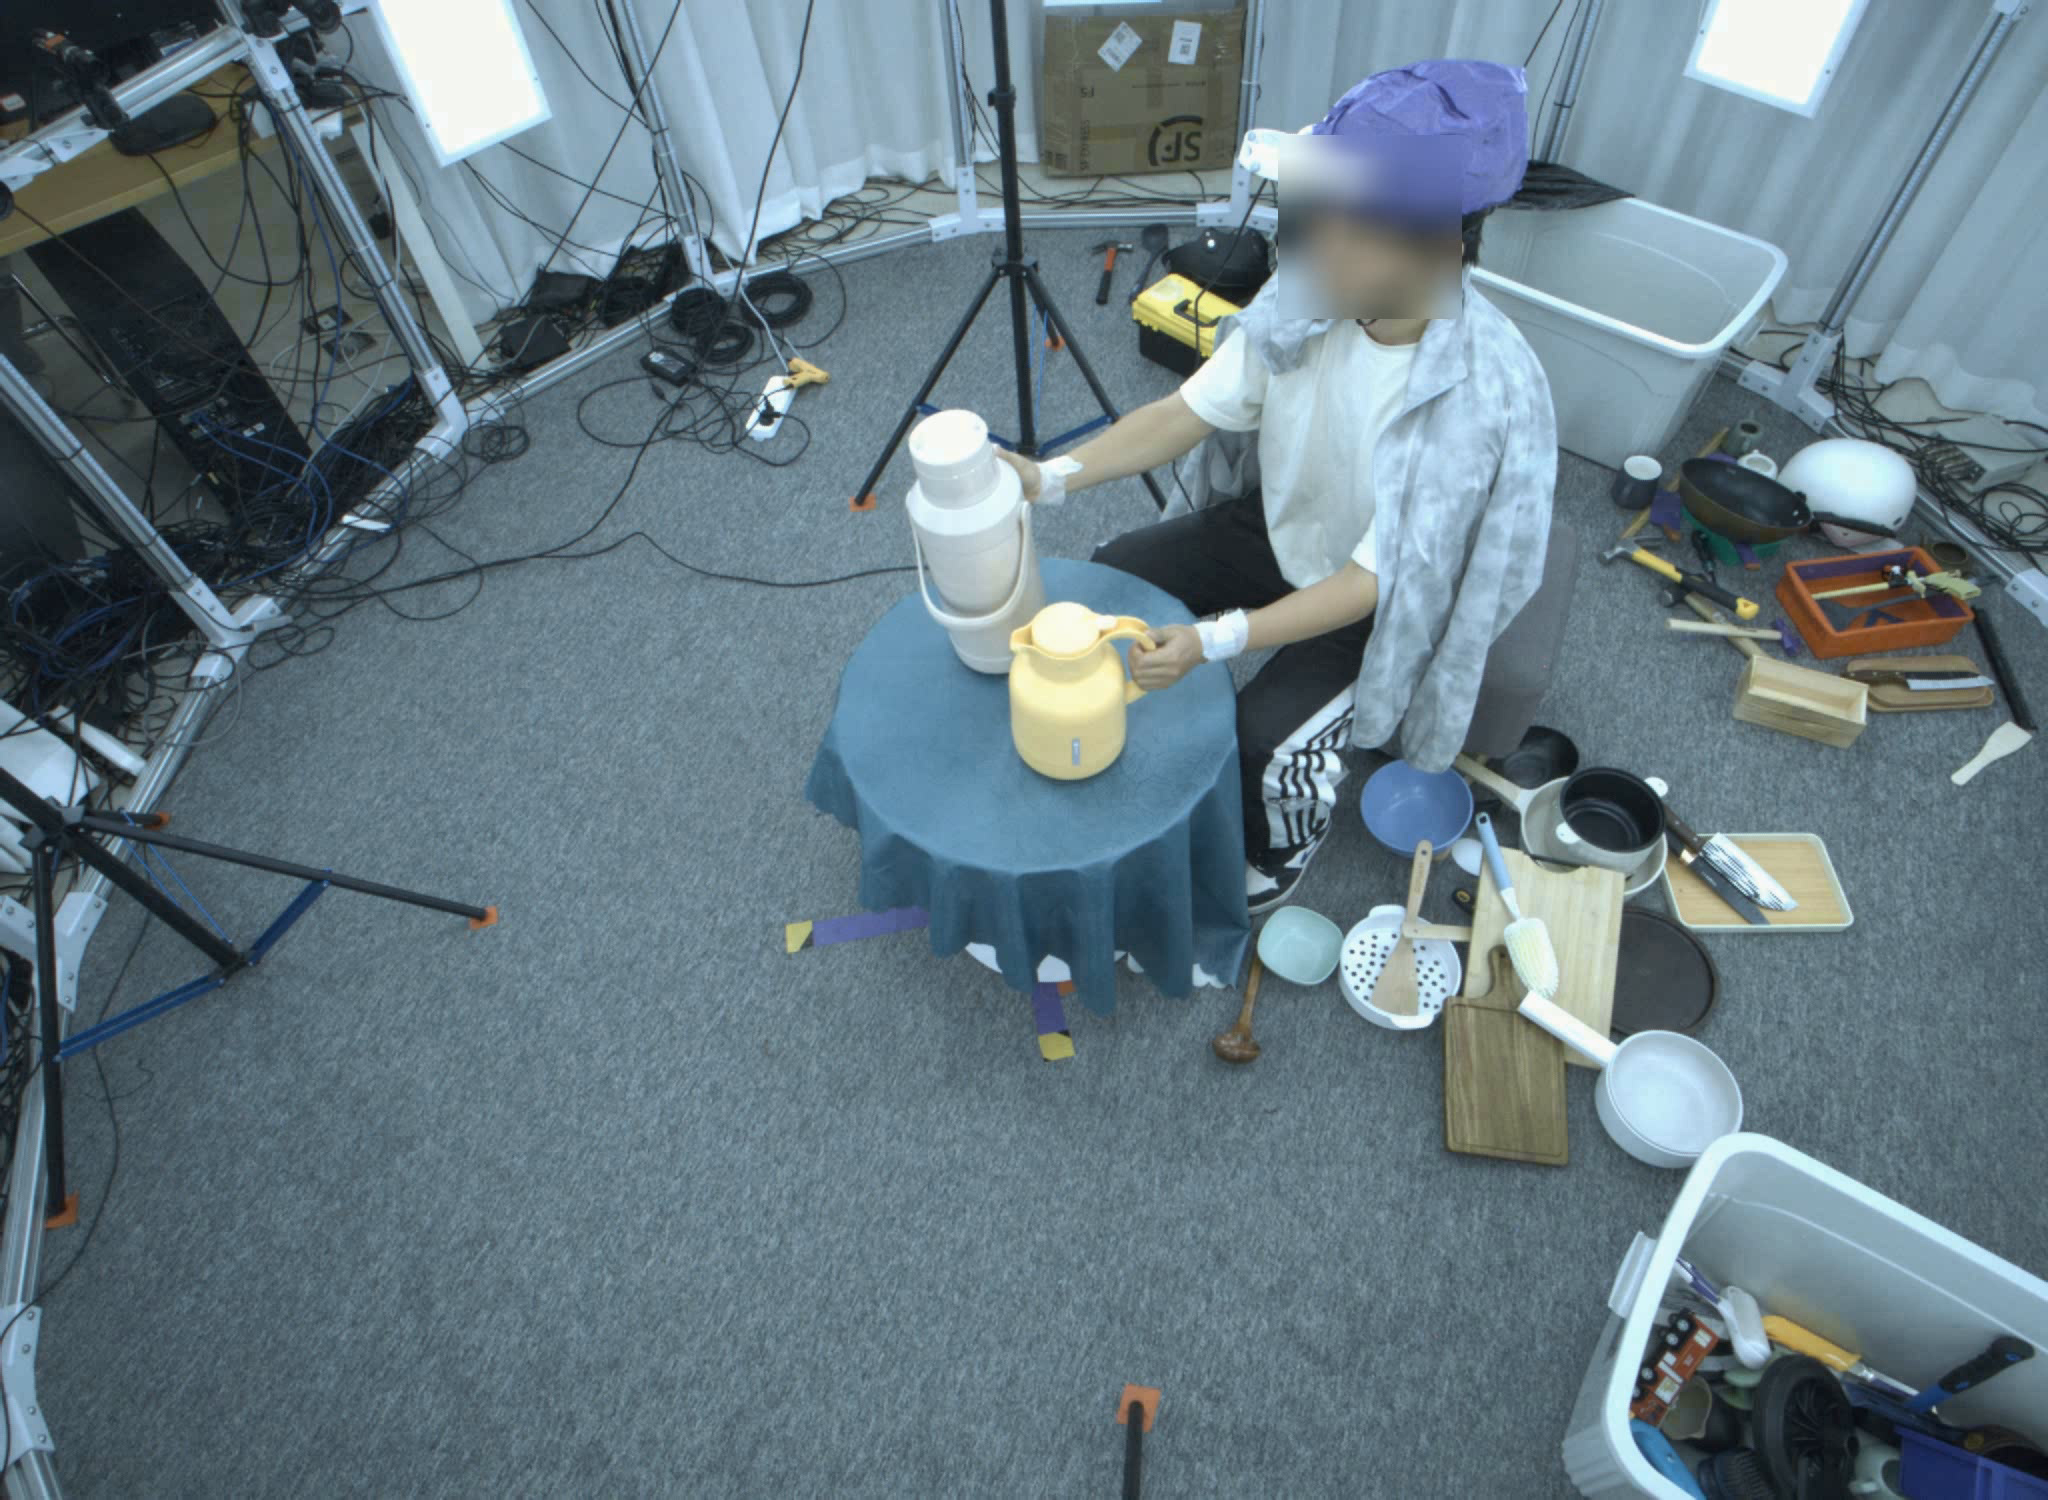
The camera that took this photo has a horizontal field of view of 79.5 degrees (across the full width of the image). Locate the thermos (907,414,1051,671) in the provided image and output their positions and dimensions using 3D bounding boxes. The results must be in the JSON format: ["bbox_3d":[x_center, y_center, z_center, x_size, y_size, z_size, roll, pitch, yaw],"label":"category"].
[{"bbox_3d":[-0.060,-0.304,1.735,0.173,0.412,0.206,9,59,18],"label":"thermos"}]

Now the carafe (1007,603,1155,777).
[{"bbox_3d":[0.078,-0.089,1.689,0.203,0.263,0.161,-8,57,-1],"label":"carafe"}]
